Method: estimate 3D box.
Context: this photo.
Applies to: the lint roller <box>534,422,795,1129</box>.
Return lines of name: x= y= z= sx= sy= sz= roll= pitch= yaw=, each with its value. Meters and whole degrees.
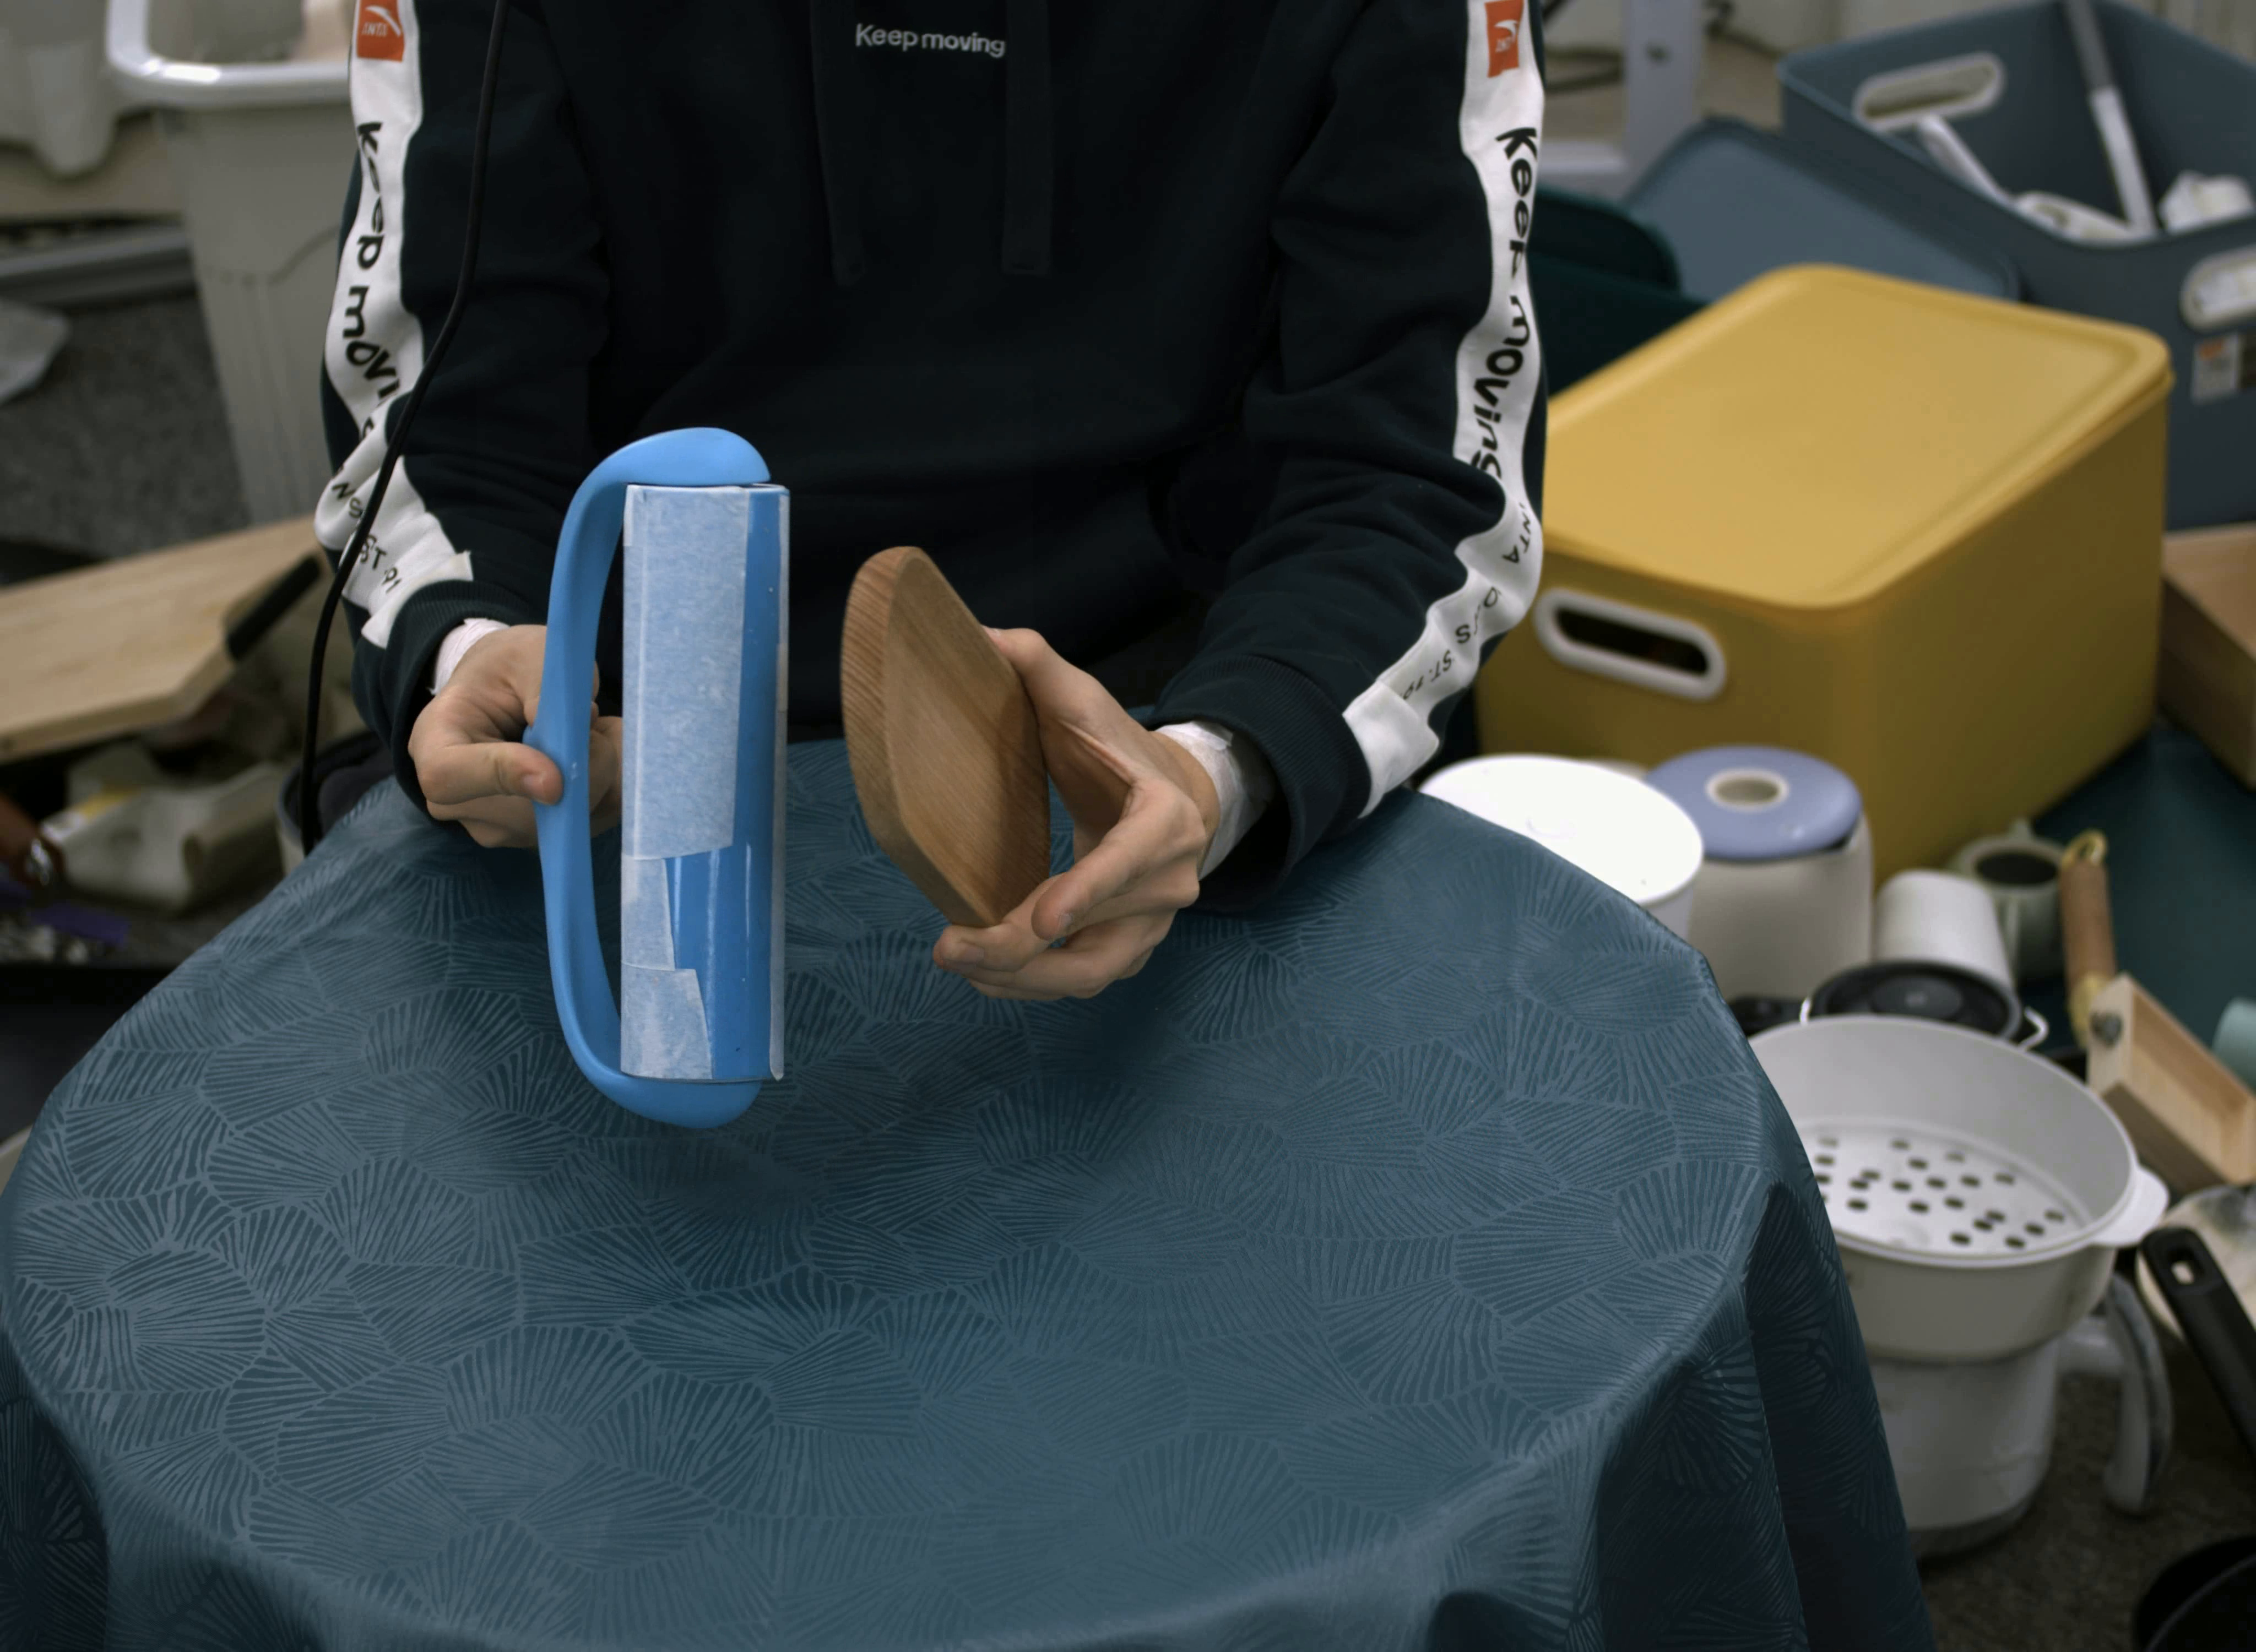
lint roller: x=-0.167 y=-0.018 z=1.877 sx=0.068 sy=0.230 sz=0.179 roll=-2 pitch=2 yaw=-30

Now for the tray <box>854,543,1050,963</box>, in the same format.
tray: x=-0.056 y=-0.022 z=1.850 sx=0.020 sy=0.103 sz=0.229 roll=-2 pitch=-16 yaw=10
